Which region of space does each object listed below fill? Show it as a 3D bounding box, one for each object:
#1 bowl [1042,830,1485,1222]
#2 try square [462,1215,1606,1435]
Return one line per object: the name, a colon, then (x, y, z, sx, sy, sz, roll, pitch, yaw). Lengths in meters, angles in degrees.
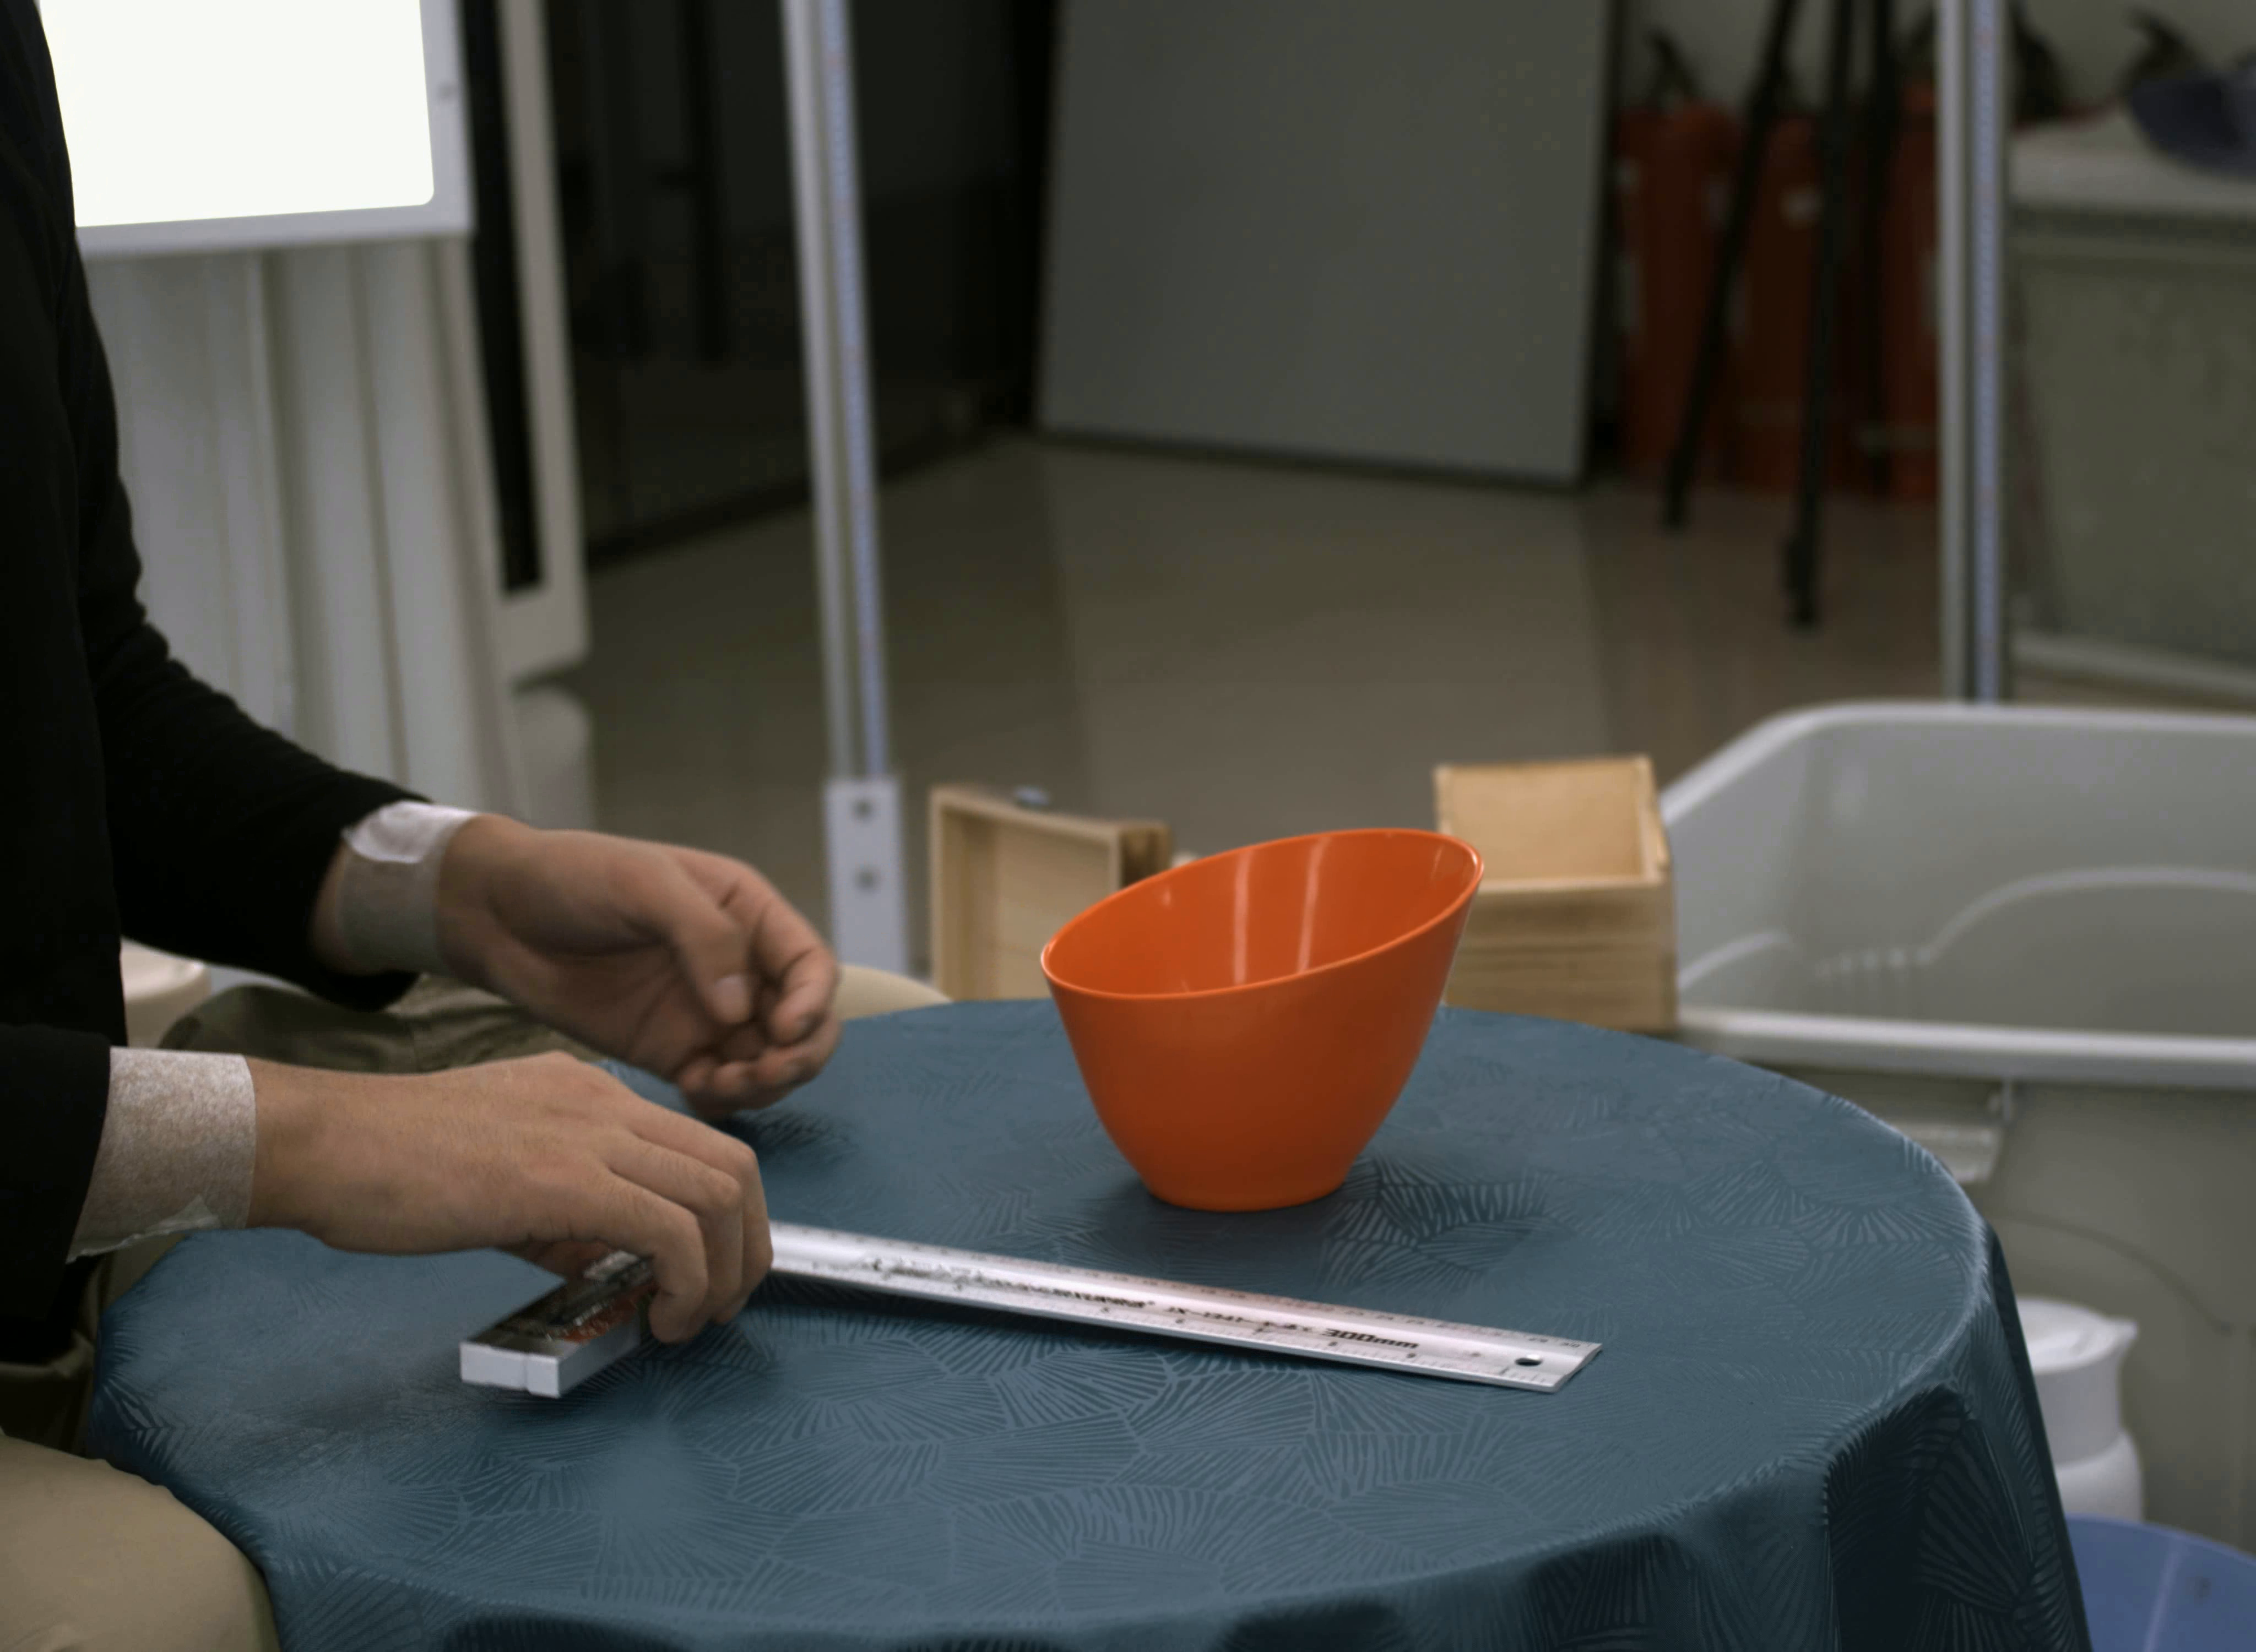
bowl: (0.047, 0.068, 1.760, 0.146, 0.106, 0.148, -5, 15, 0)
try square: (-0.028, 0.161, 1.600, 0.313, 0.016, 0.150, 5, 20, 26)
